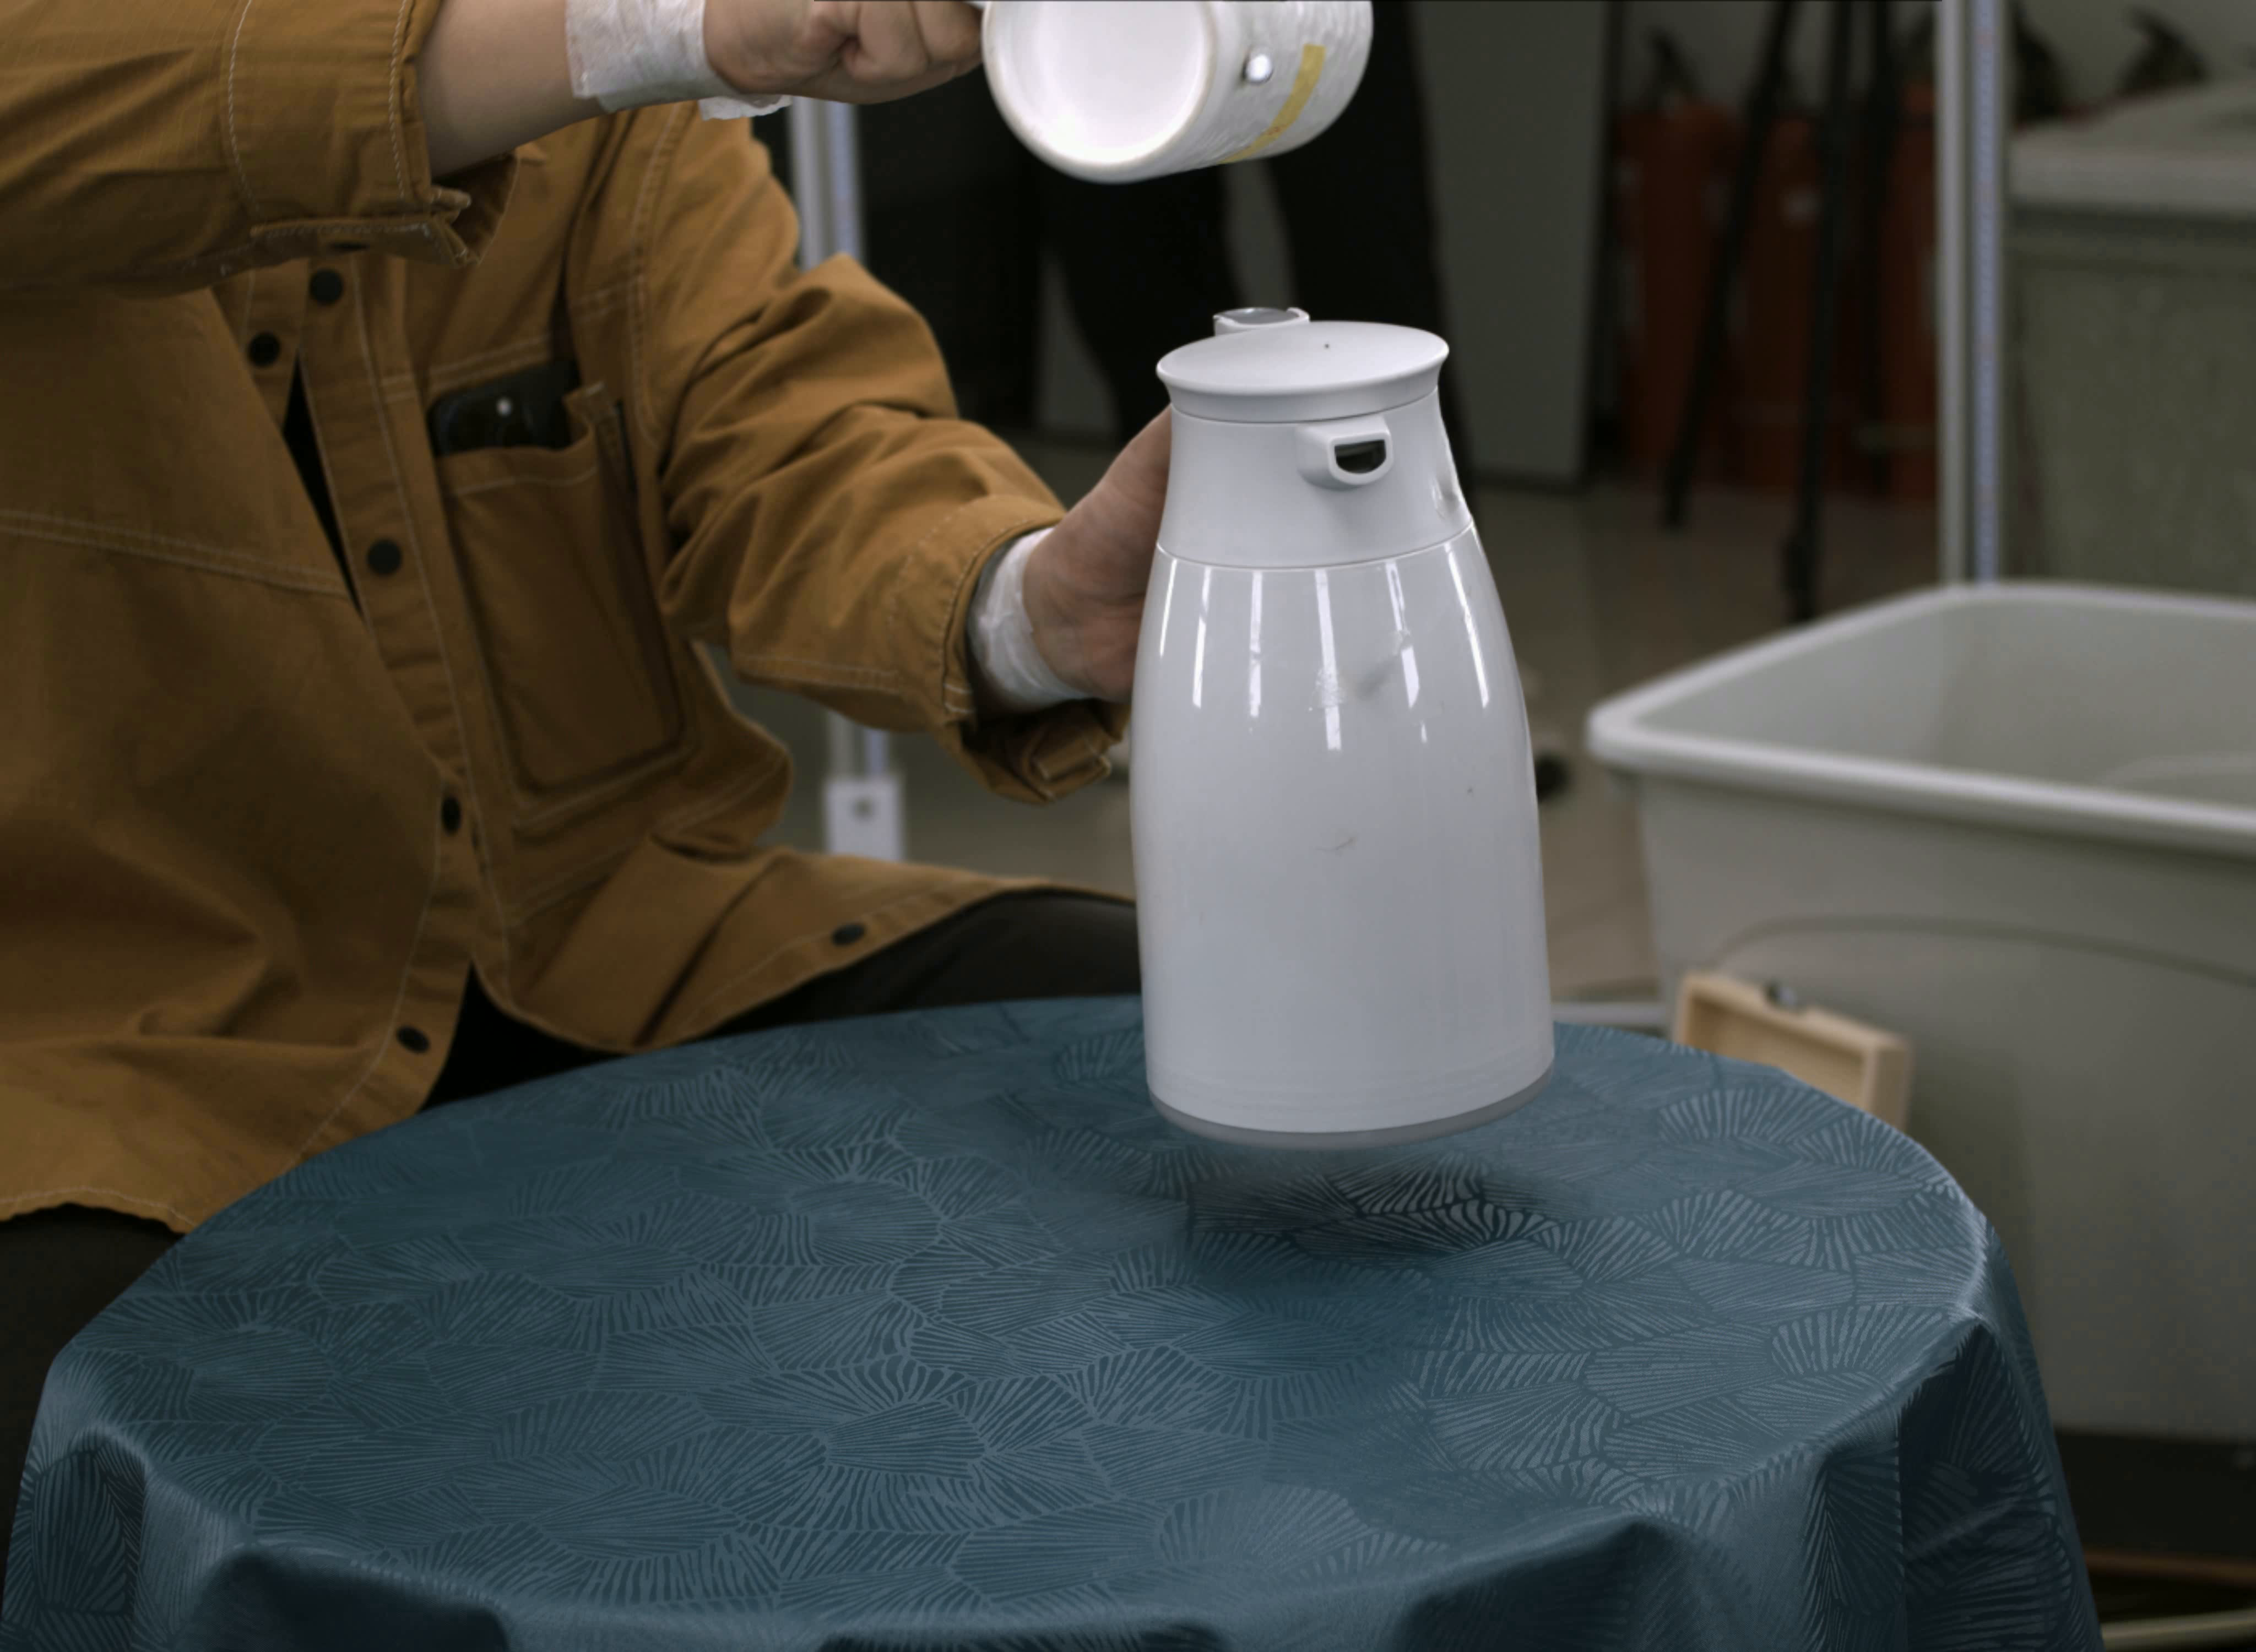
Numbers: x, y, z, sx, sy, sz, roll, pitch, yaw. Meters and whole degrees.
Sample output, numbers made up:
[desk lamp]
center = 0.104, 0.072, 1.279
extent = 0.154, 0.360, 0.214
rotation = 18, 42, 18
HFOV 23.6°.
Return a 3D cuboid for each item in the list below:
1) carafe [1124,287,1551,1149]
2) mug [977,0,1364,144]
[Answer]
[carafe]
center = 0.054, -0.043, 1.714
extent = 0.130, 0.251, 0.169
rotation = -10, 16, -12
[mug]
center = -0.001, -0.252, 1.617
extent = 0.118, 0.086, 0.100
rotation = 23, 17, 23
